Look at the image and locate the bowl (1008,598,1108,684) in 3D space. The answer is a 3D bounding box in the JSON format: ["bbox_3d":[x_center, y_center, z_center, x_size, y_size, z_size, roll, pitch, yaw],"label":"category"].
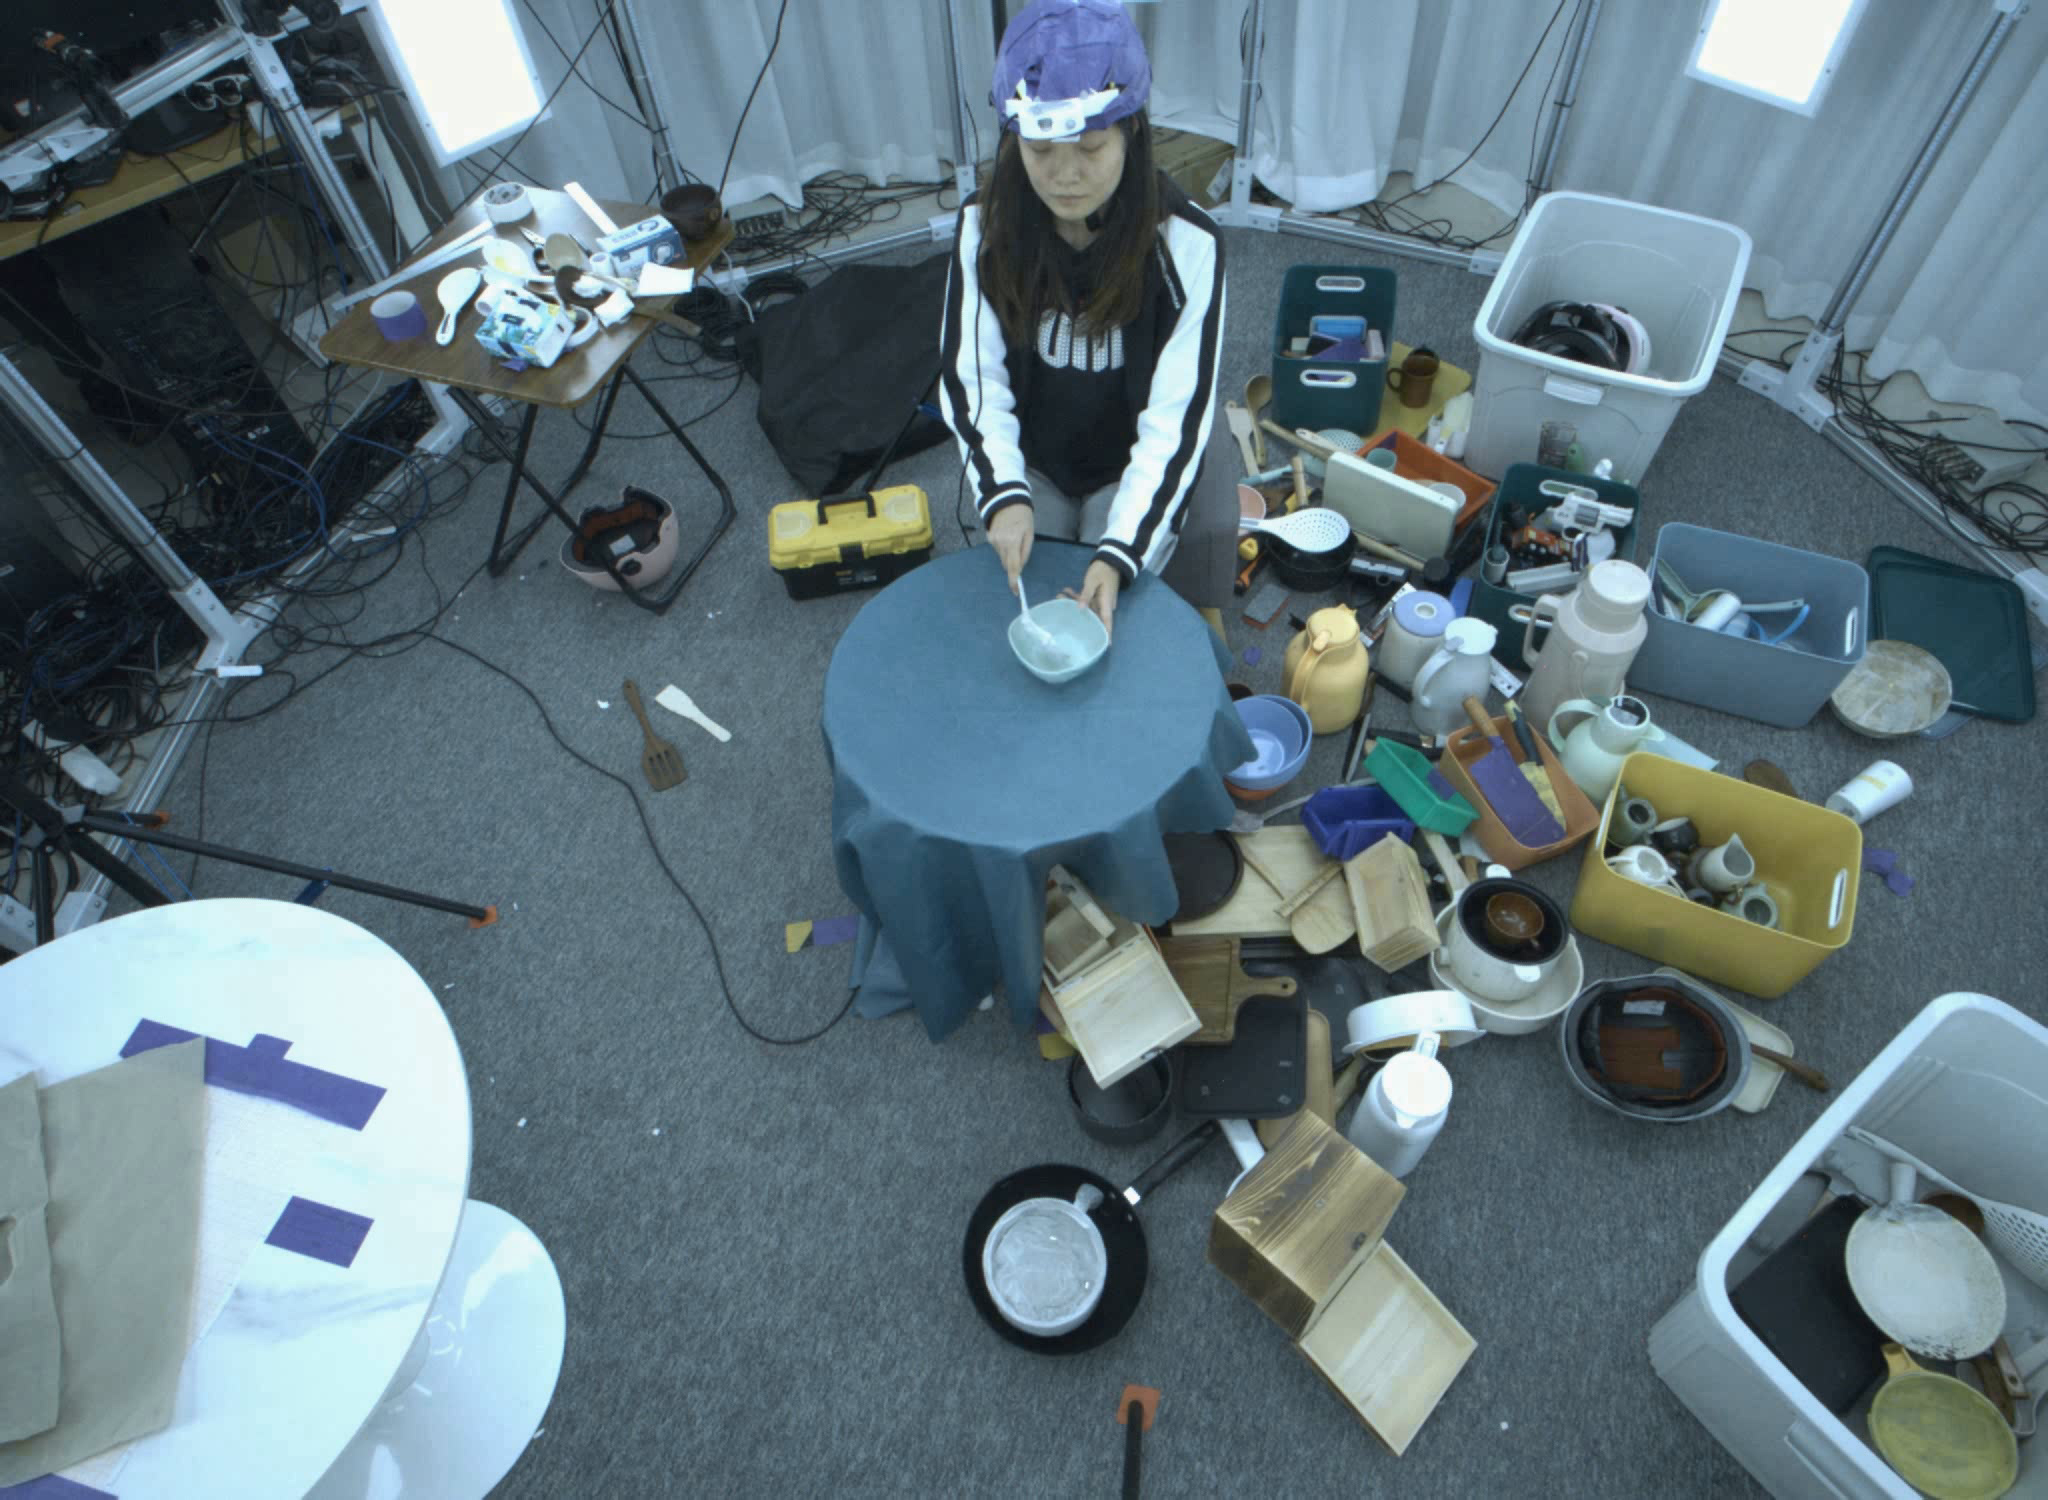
[{"bbox_3d":[0.052,-0.155,1.863,0.151,0.059,0.150,0,56,2],"label":"bowl"}]

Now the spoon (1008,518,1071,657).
[{"bbox_3d":[0.021,-0.253,1.866,0.059,0.103,0.274,-18,60,17],"label":"spoon"}]
